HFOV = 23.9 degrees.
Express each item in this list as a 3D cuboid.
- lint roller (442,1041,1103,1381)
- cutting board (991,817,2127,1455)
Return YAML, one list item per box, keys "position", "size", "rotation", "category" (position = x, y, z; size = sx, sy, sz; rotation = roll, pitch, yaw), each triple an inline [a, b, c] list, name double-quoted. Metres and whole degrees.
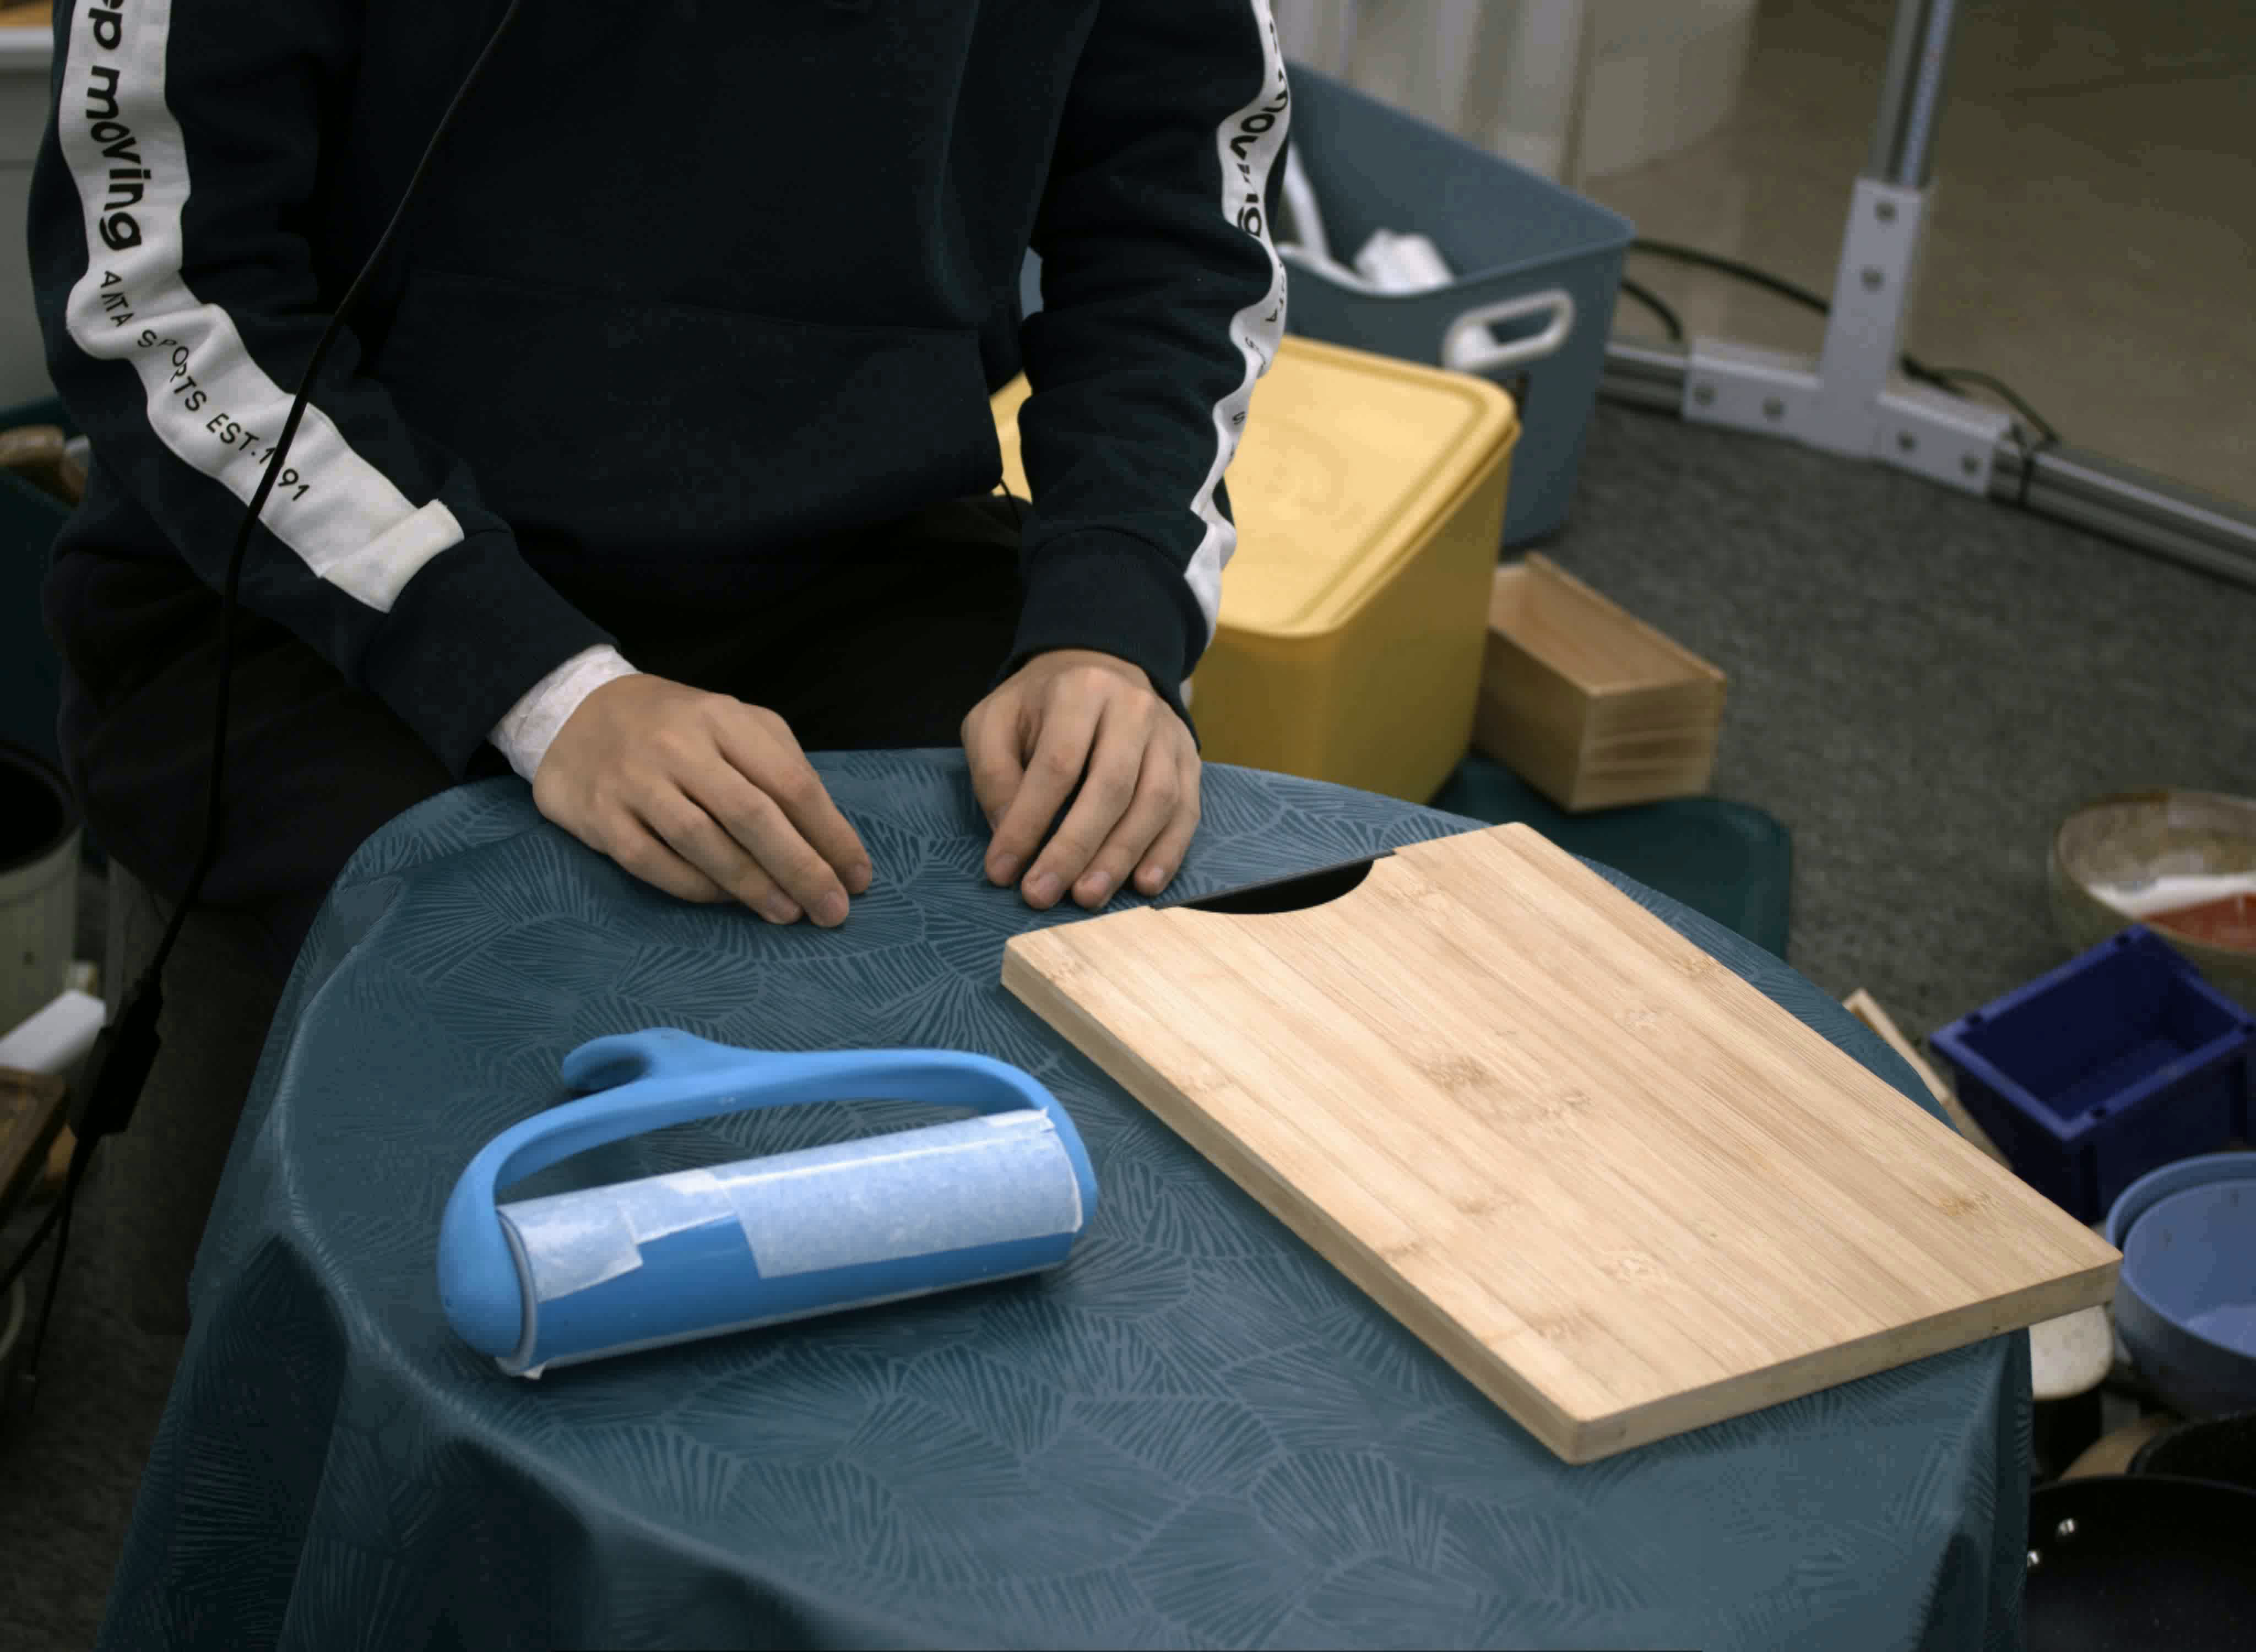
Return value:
- position: [-0.141, 0.105, 1.740]
  size: [0.227, 0.067, 0.182]
  rotation: [-12, 32, -29]
  category: "lint roller"
- position: [0.143, 0.100, 1.860]
  size: [0.249, 0.023, 0.352]
  rotation: [-12, 32, -33]
  category: "cutting board"
